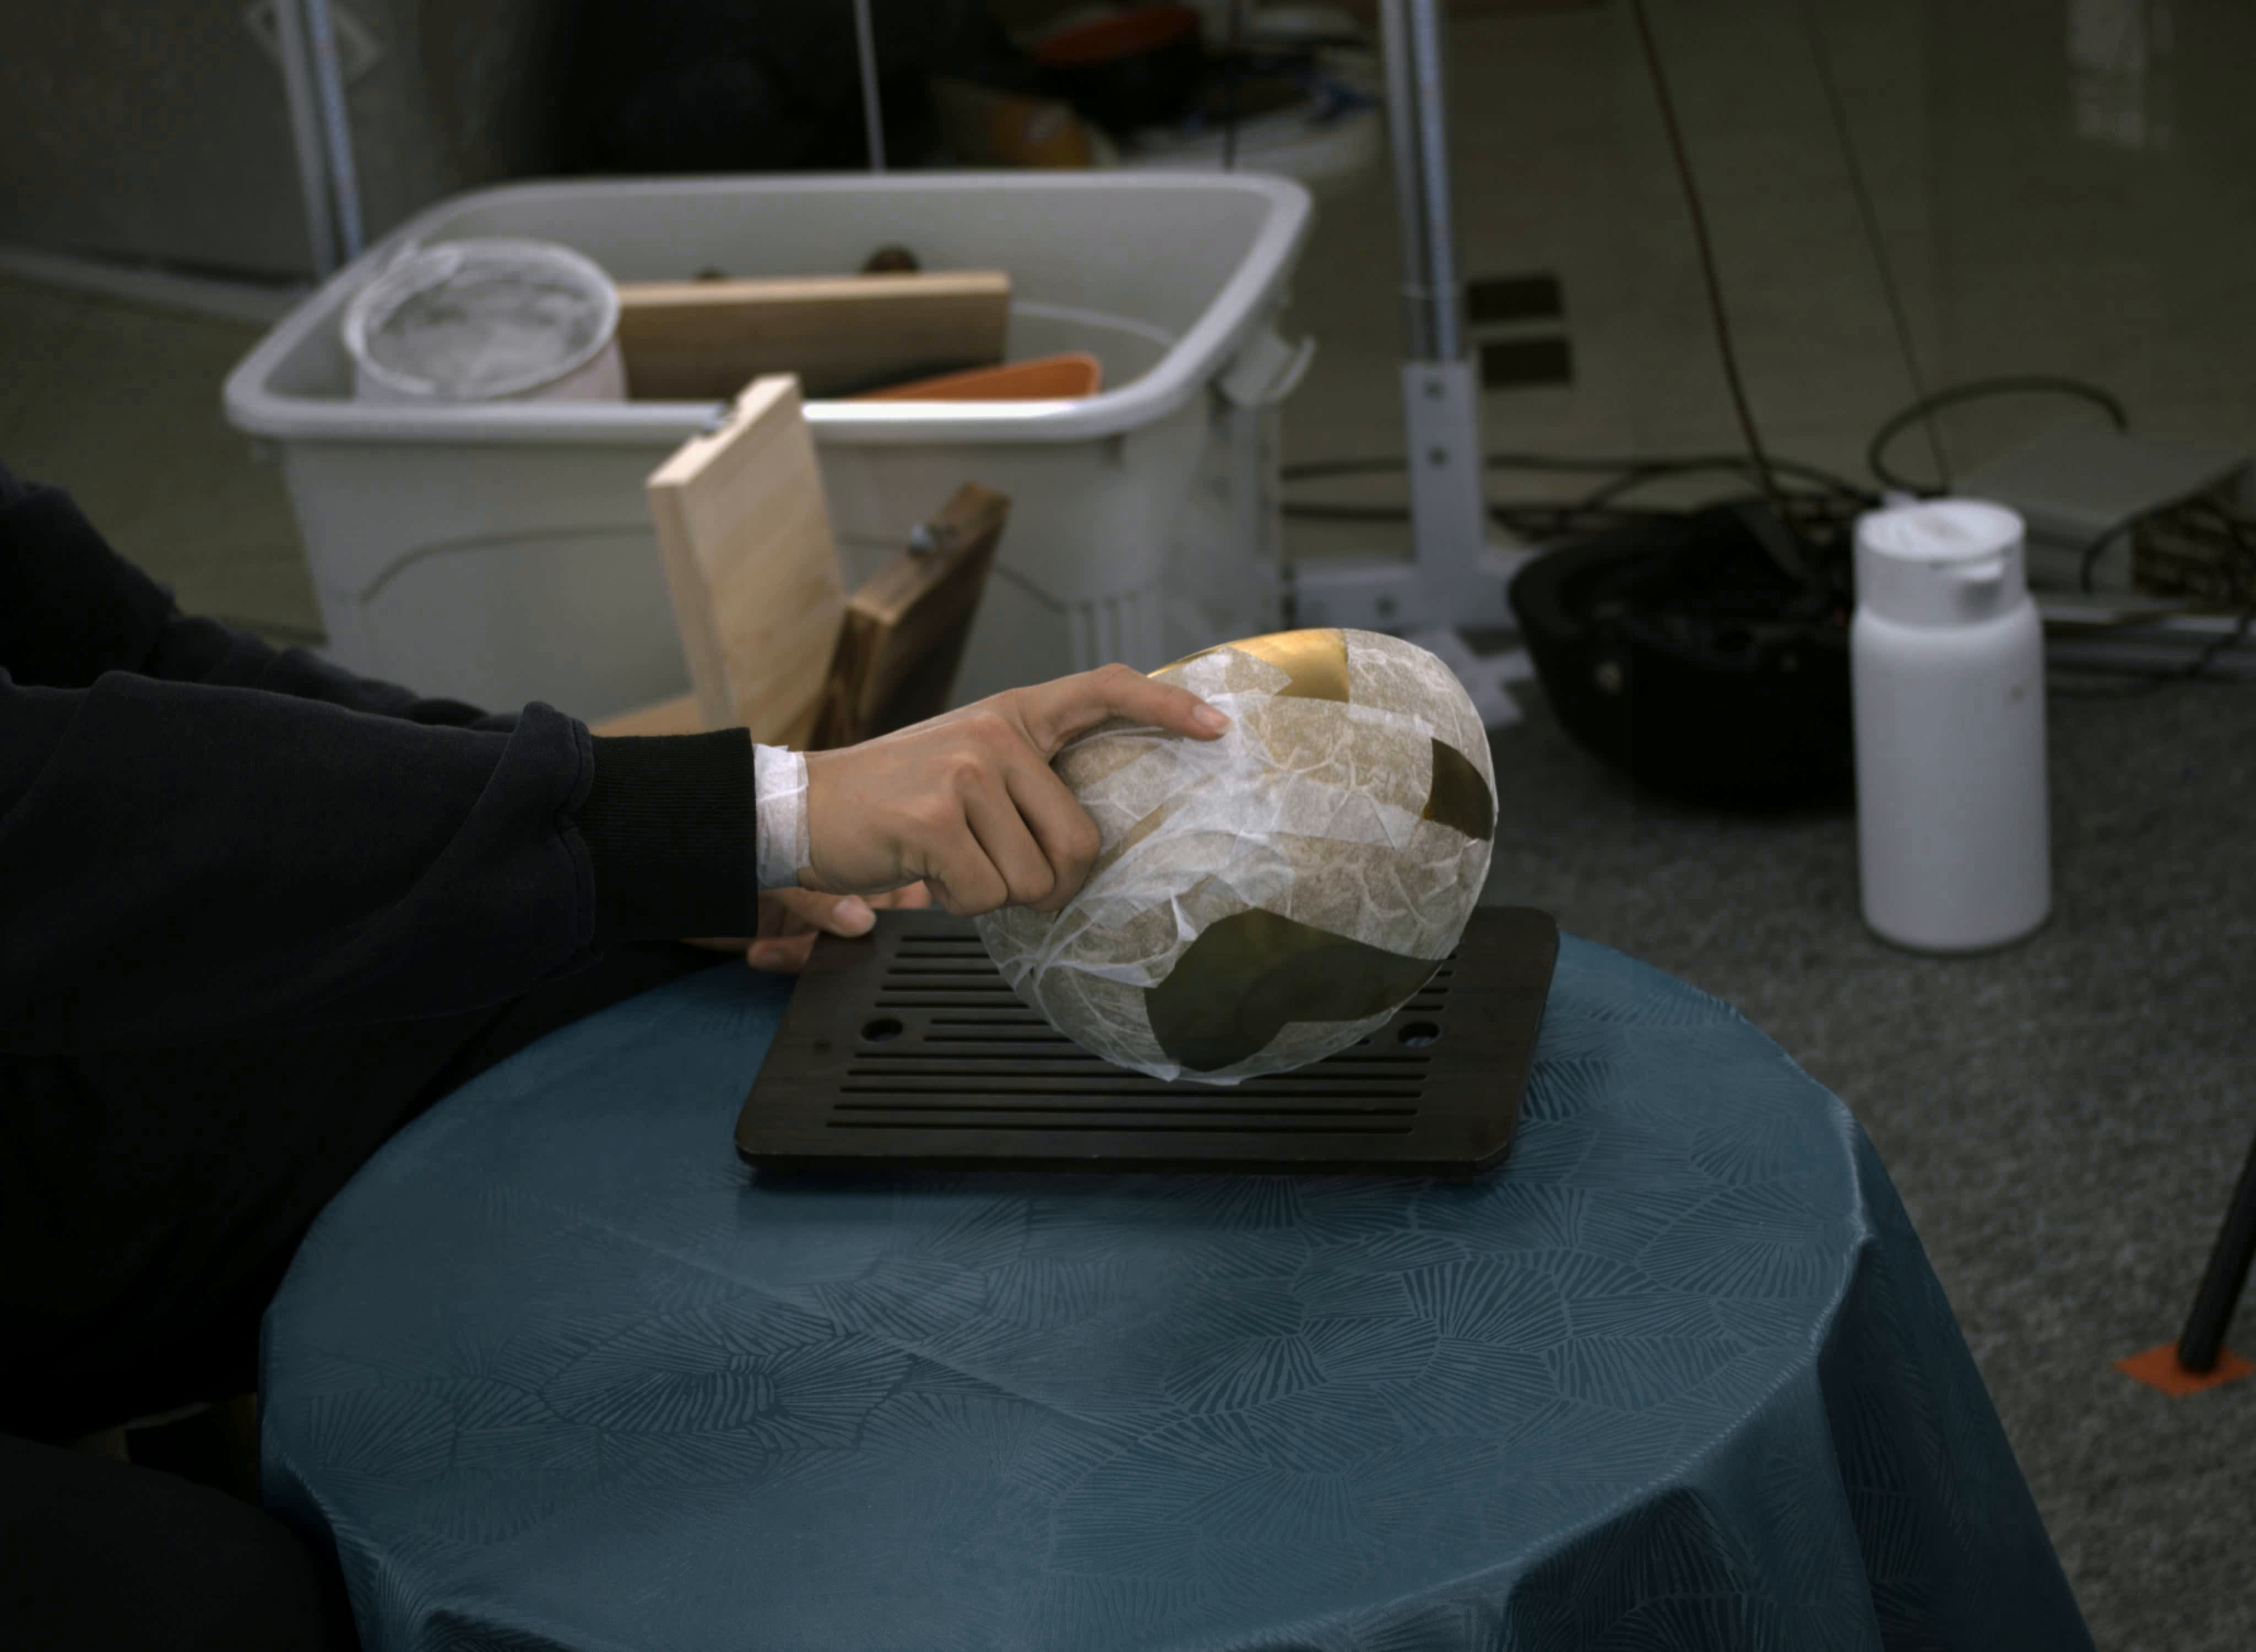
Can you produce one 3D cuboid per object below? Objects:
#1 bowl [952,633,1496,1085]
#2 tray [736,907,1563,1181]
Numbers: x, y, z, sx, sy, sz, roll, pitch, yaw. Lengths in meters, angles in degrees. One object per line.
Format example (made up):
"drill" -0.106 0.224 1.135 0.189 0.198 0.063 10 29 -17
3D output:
"bowl" 0.047 0.032 2.074 0.214 0.219 0.093 -13 55 -15
"tray" 0.011 0.085 2.220 0.305 0.019 0.167 0 34 14
